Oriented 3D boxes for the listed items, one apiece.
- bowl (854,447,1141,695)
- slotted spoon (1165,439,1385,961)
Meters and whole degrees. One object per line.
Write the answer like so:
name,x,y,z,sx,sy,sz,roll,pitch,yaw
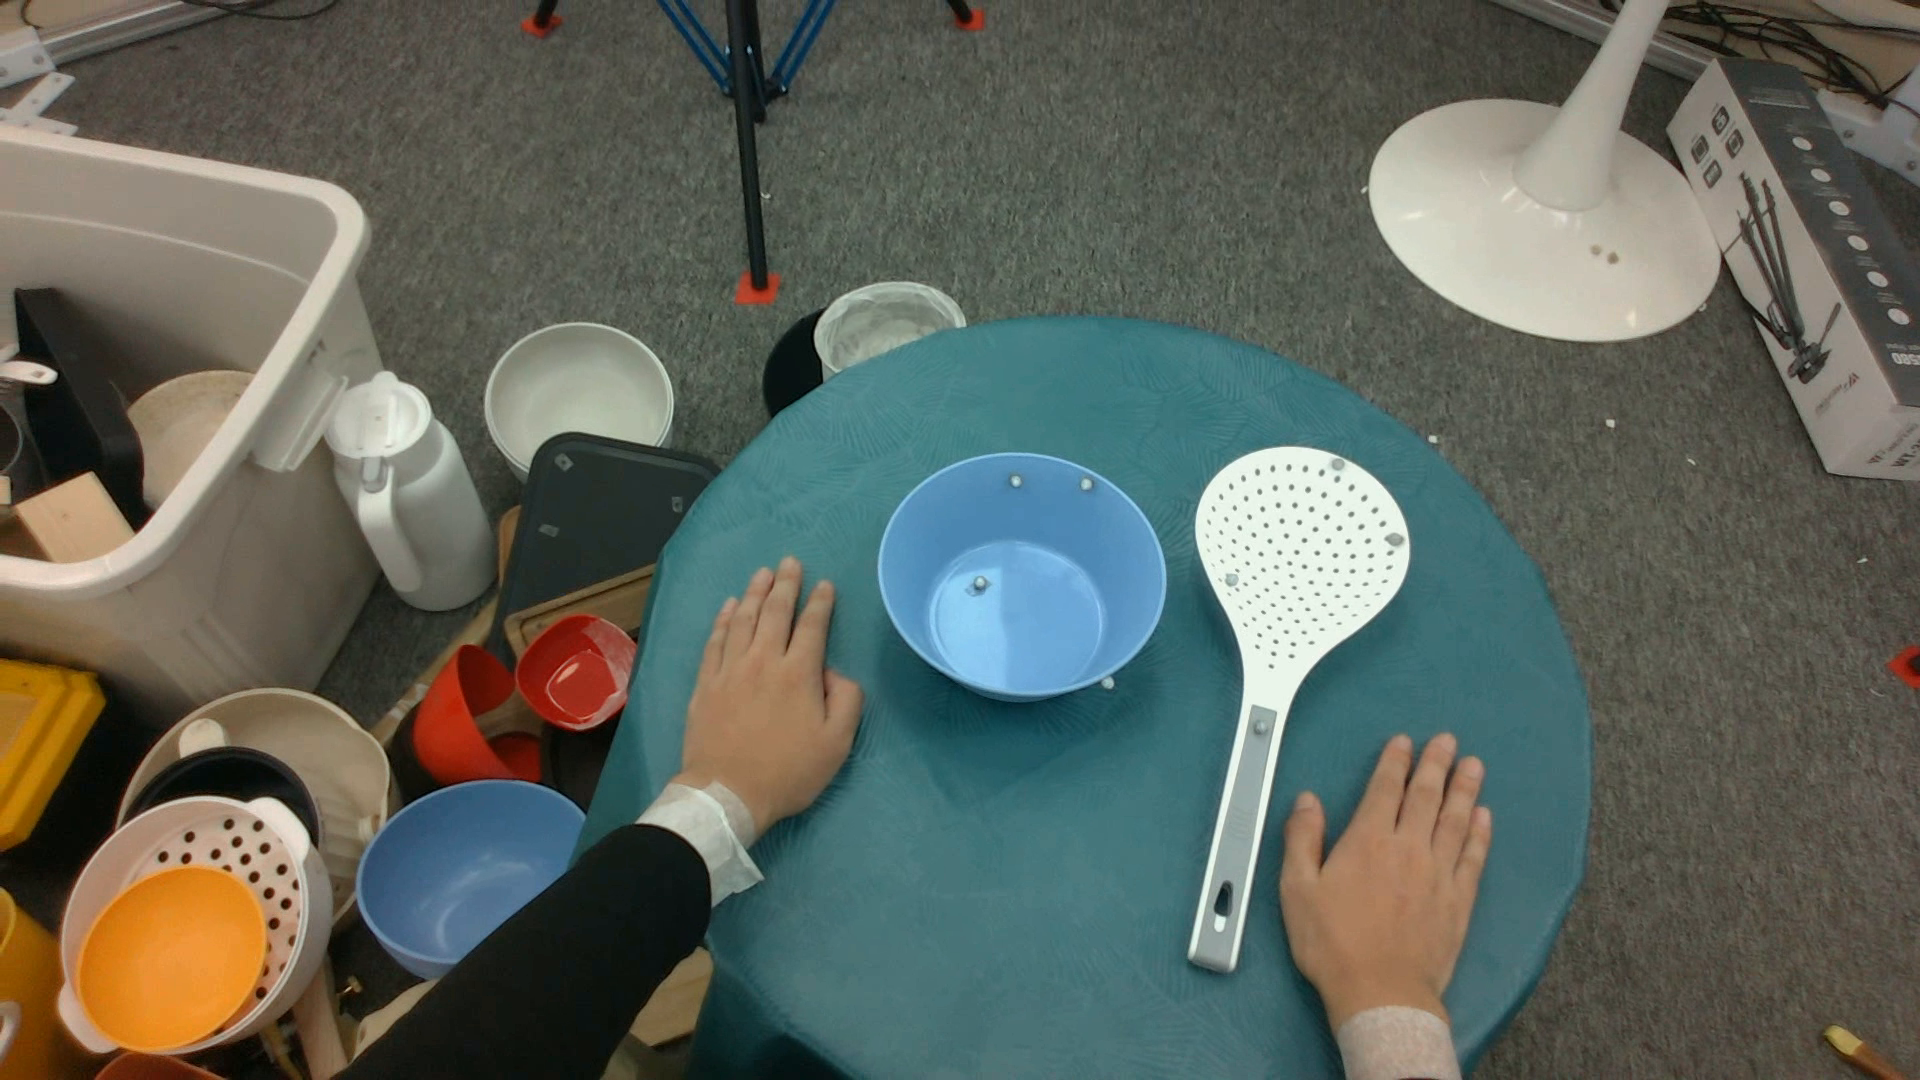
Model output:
bowl,0.022,0.029,0.860,0.176,0.070,0.177,2,56,-2
slotted spoon,0.177,0.086,0.848,0.136,0.045,0.351,15,57,6
